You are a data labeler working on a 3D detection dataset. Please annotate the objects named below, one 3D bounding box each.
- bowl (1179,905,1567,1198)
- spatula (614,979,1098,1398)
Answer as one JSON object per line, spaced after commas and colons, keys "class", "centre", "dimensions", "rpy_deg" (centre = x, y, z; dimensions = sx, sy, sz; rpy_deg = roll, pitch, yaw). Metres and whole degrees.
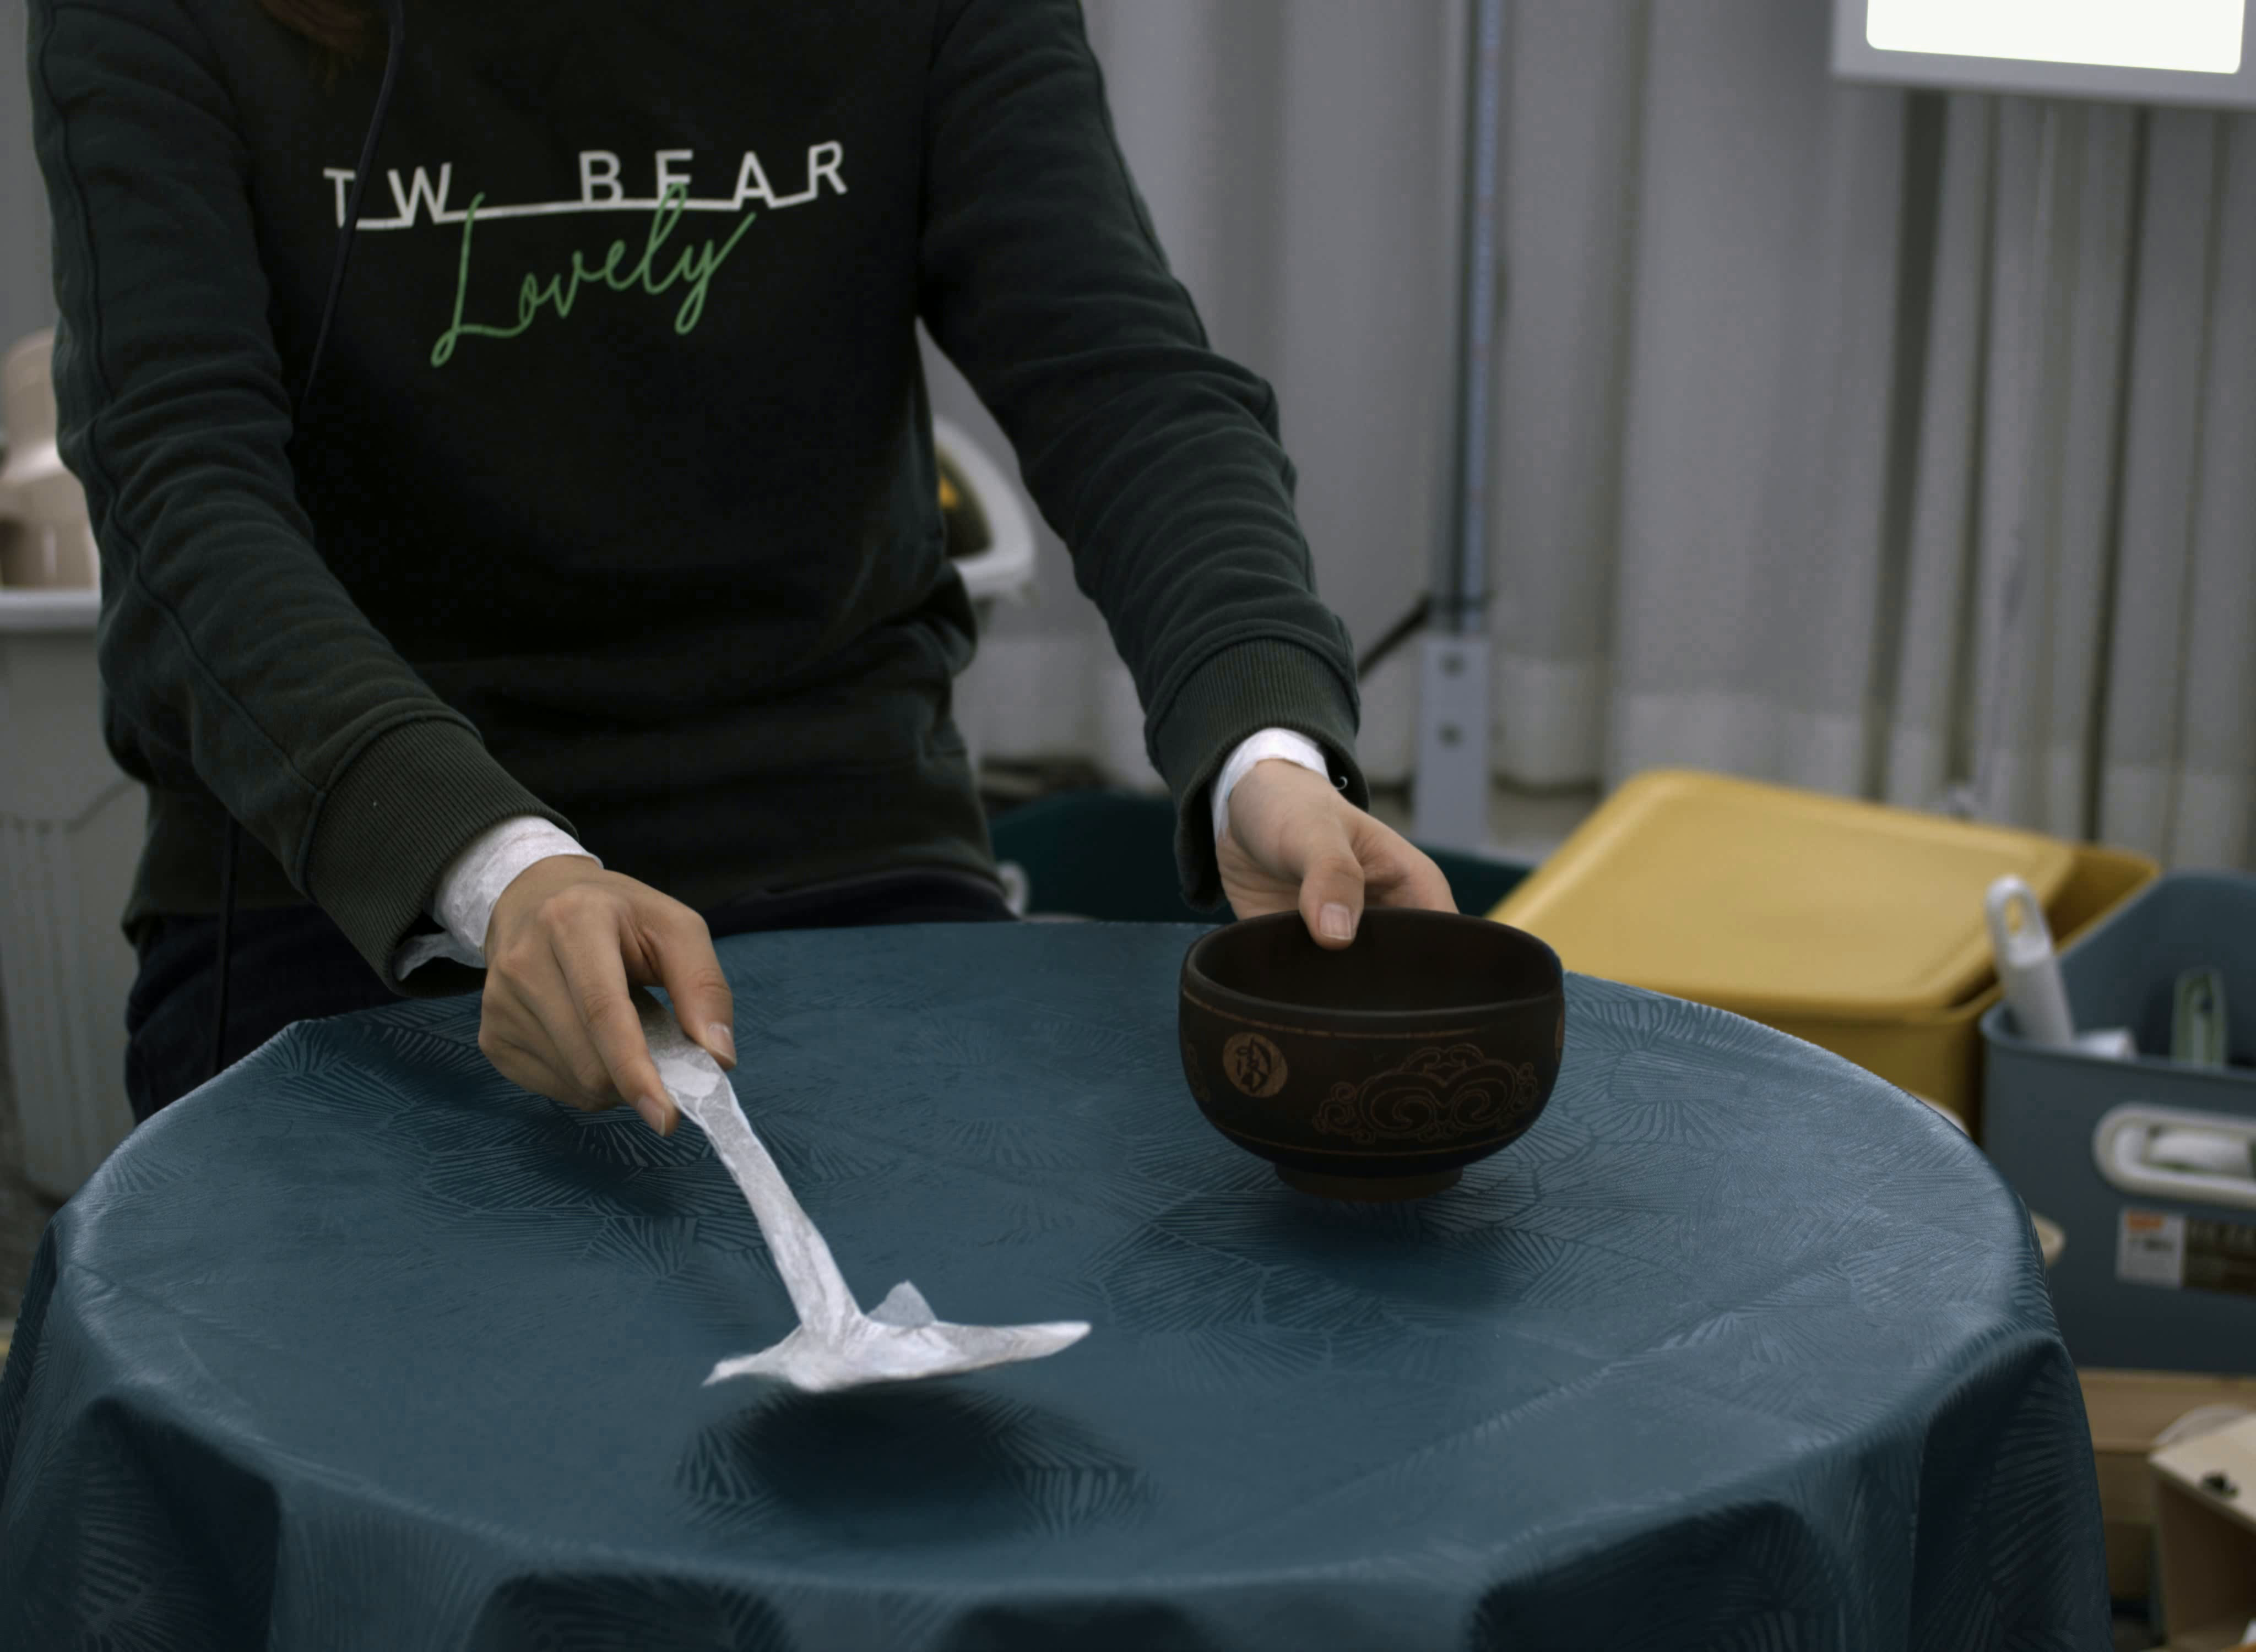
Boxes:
{"class": "bowl", "centre": [0.074, 0.071, 1.599], "dimensions": [0.117, 0.070, 0.117], "rpy_deg": [2, 14, 0]}
{"class": "spatula", "centre": [-0.105, 0.097, 1.534], "dimensions": [0.099, 0.045, 0.360], "rpy_deg": [-7, 23, -17]}
